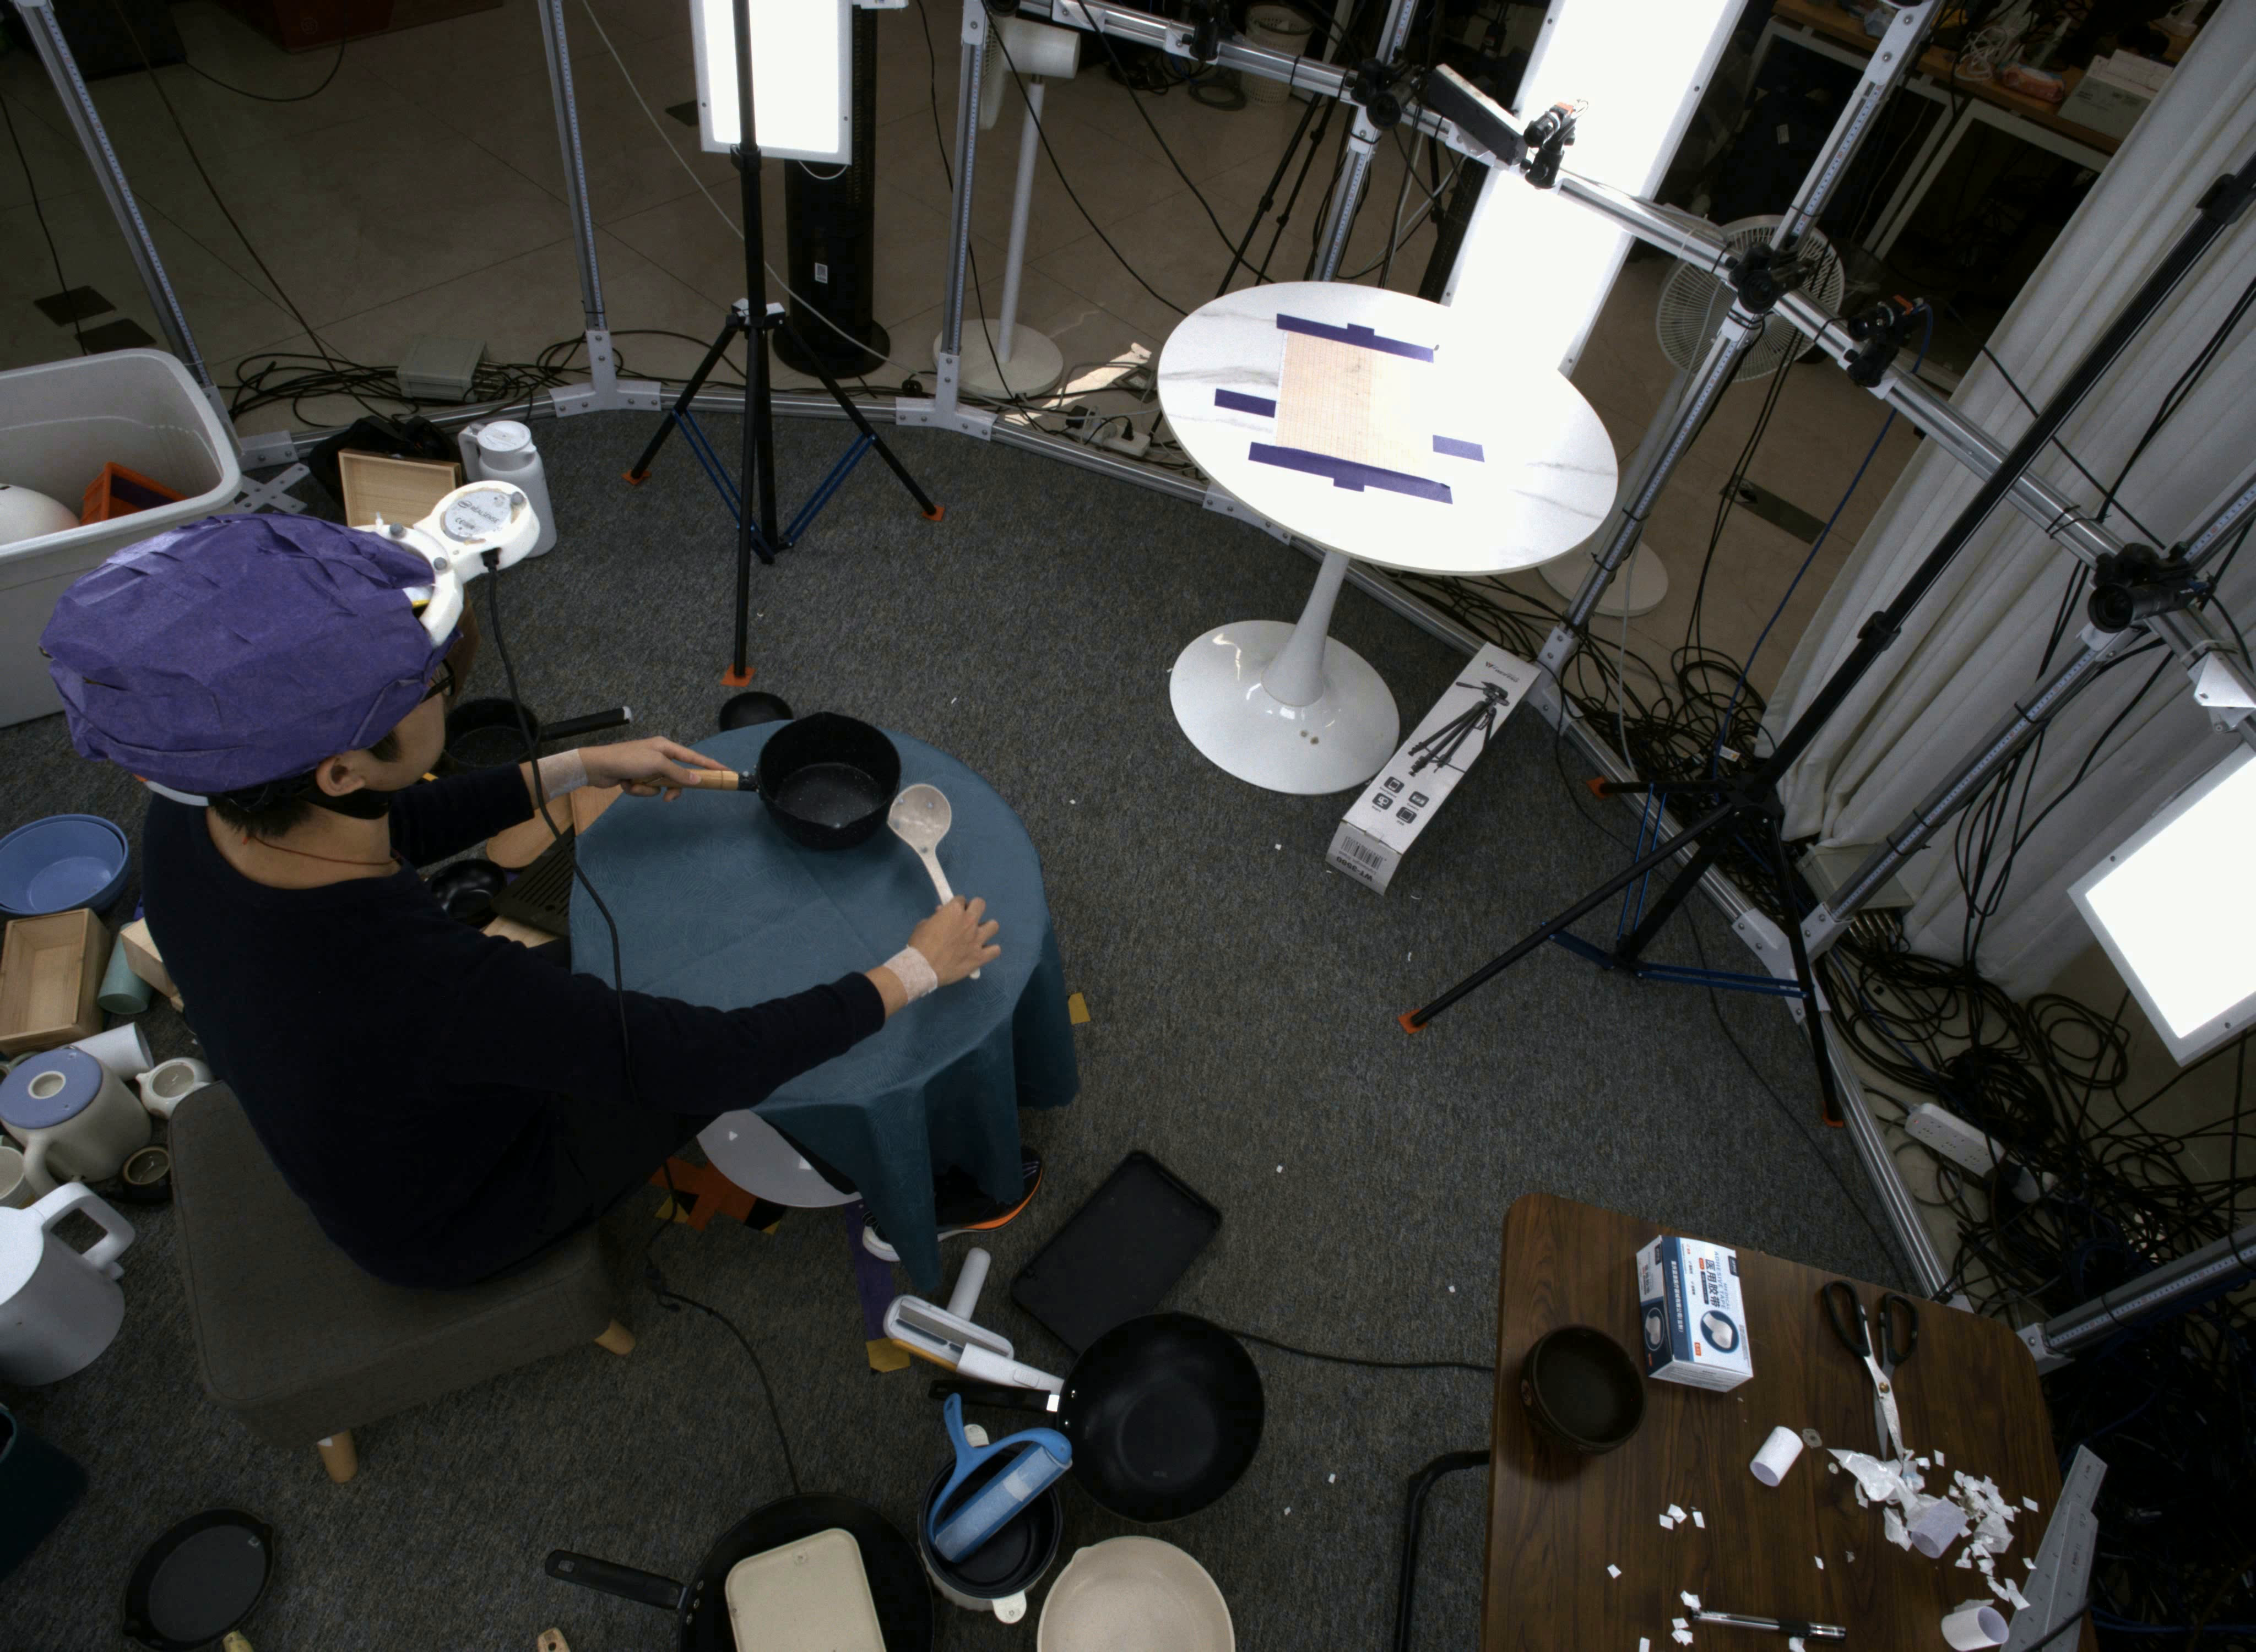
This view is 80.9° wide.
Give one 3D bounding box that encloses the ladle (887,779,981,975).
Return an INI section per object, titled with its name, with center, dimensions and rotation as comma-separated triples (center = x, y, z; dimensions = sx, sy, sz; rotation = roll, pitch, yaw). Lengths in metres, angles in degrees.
[ladle]
center = -0.224, 0.057, 1.612
dimensions = 0.091, 0.070, 0.266
rotation = 6, 41, -43

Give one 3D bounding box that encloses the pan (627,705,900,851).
[pan]
center = -0.468, -0.052, 1.671
dimensions = 0.344, 0.110, 0.203
rotation = -6, 56, -20
